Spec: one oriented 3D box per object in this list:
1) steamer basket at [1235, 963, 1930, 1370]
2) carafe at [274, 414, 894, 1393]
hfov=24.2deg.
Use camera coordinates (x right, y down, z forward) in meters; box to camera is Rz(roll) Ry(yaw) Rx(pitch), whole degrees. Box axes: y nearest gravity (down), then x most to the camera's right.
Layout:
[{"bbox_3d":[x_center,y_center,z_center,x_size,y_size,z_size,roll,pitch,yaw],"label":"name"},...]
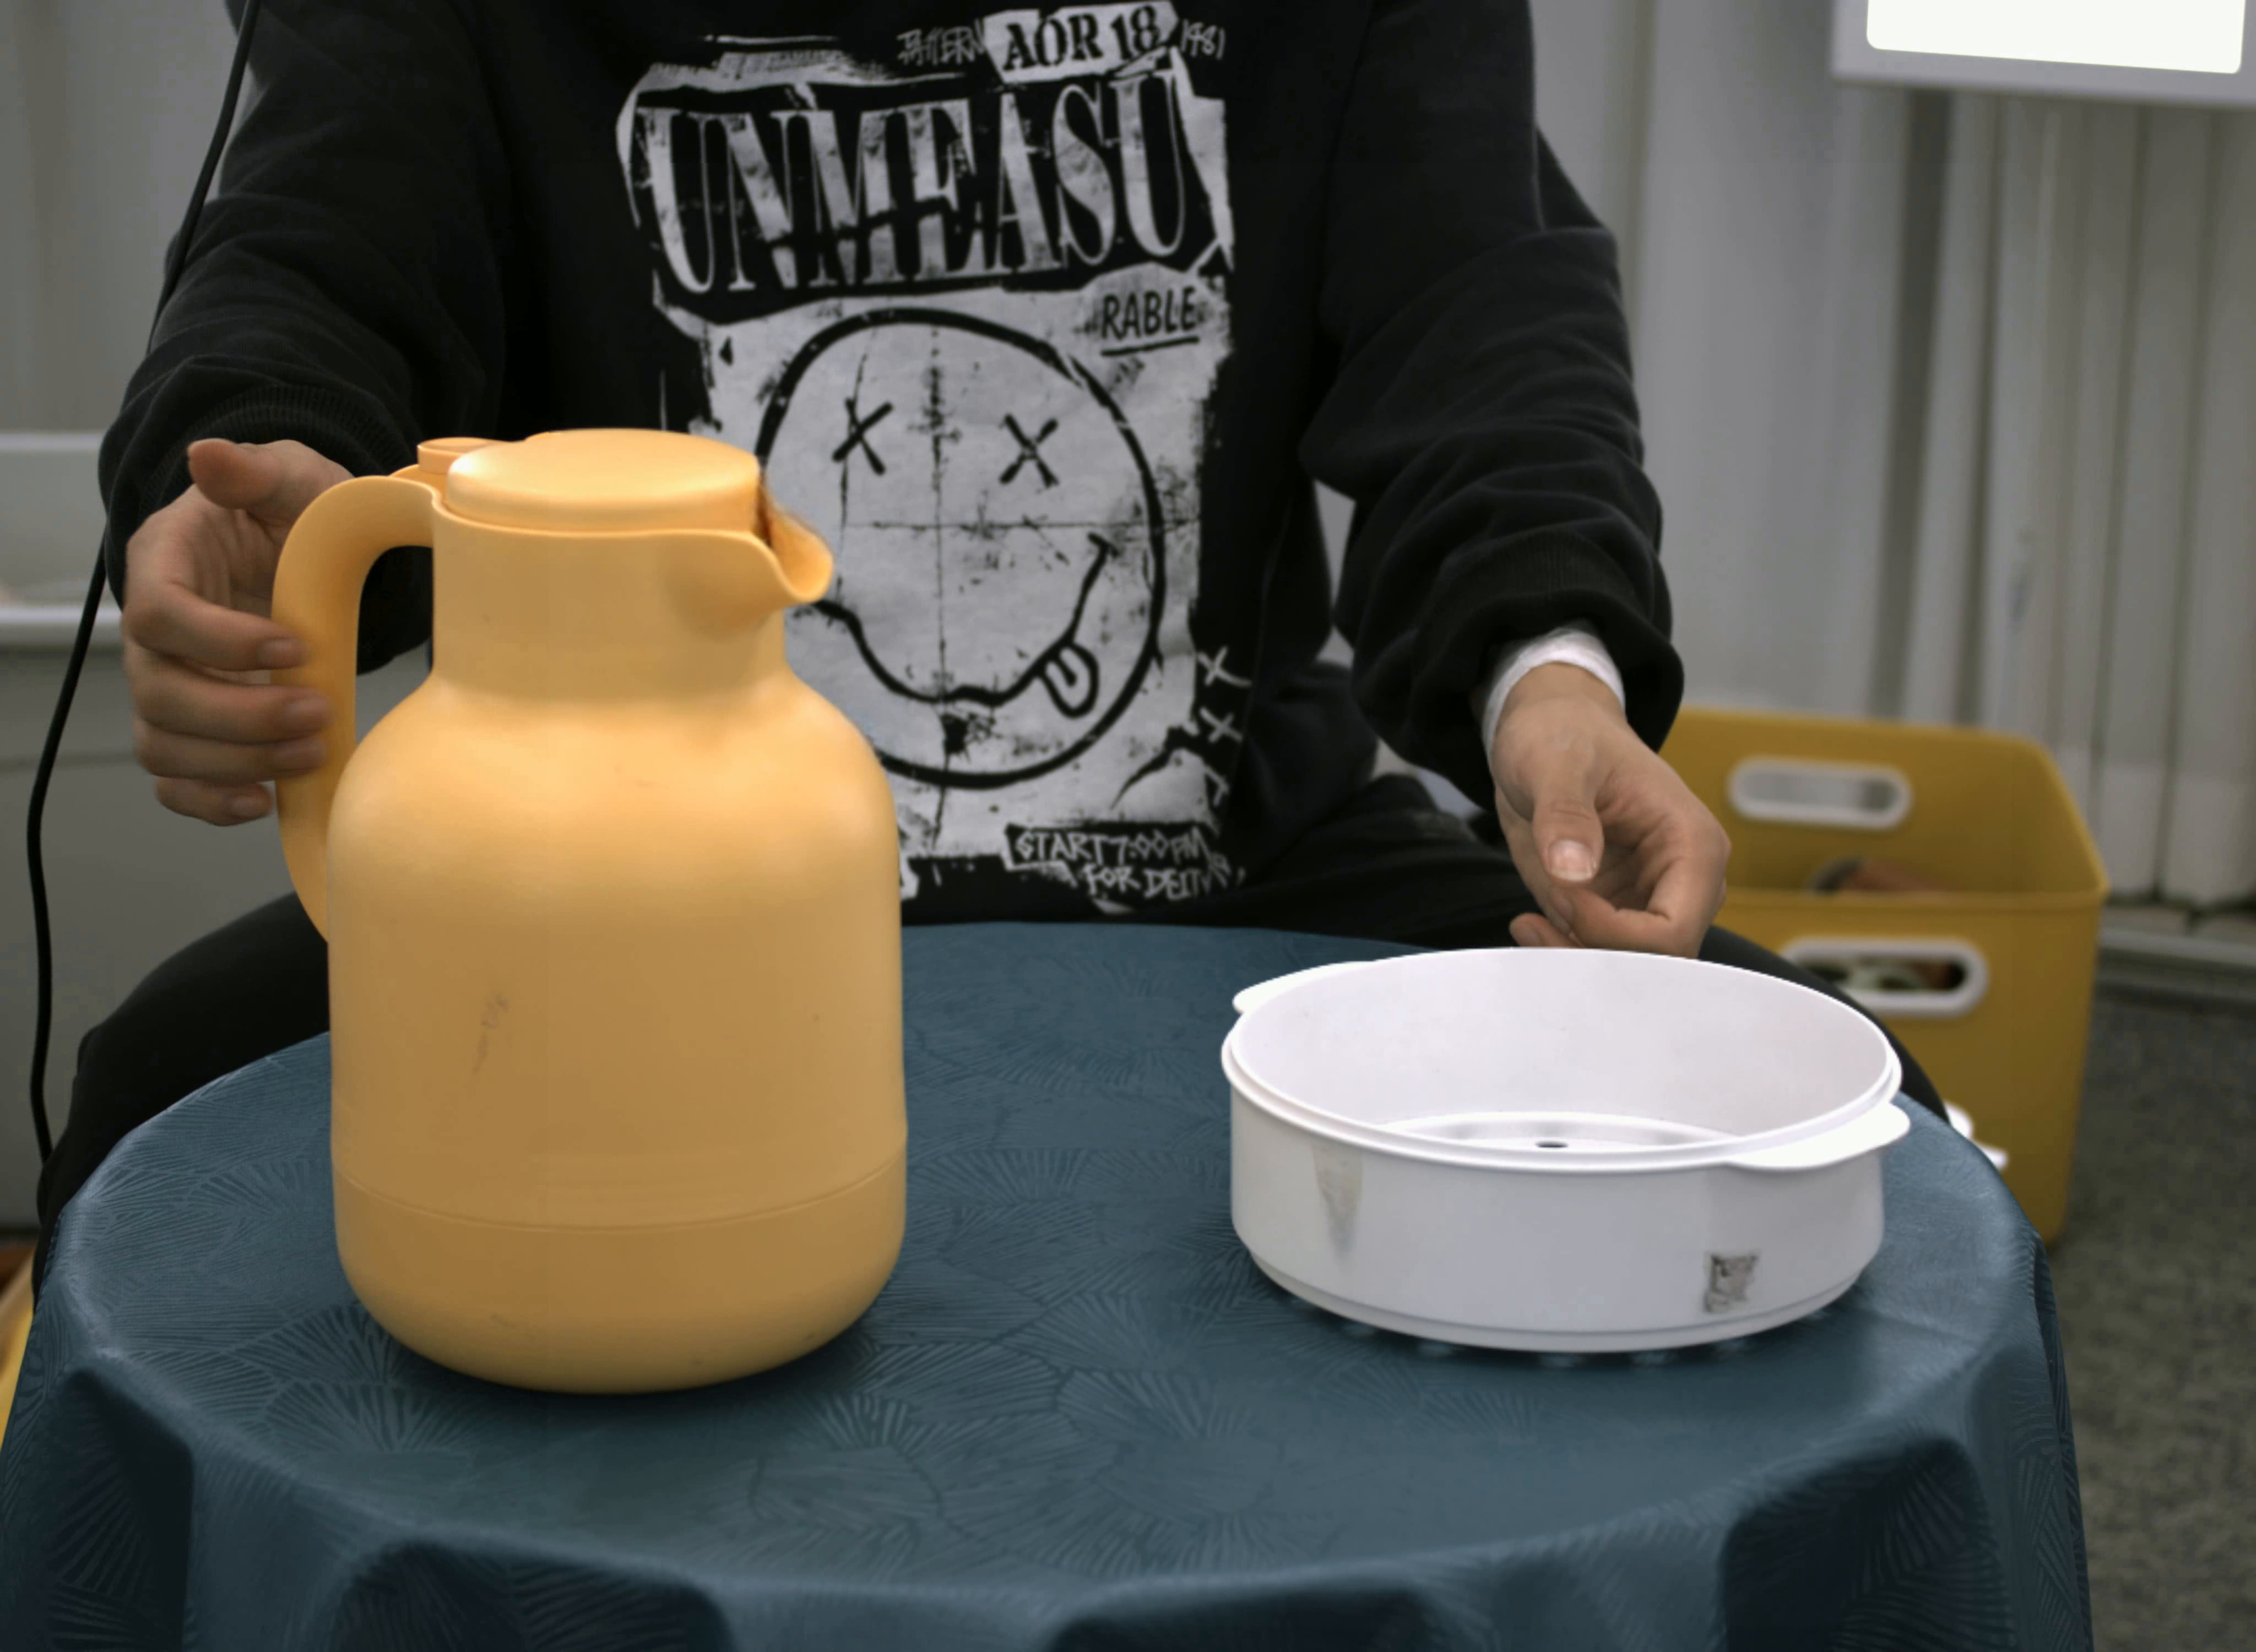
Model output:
[{"bbox_3d":[0.132,0.100,1.558,0.227,0.070,0.203,15,22,43],"label":"steamer basket"},{"bbox_3d":[-0.160,0.013,1.481,0.200,0.262,0.164,14,19,36],"label":"carafe"}]
